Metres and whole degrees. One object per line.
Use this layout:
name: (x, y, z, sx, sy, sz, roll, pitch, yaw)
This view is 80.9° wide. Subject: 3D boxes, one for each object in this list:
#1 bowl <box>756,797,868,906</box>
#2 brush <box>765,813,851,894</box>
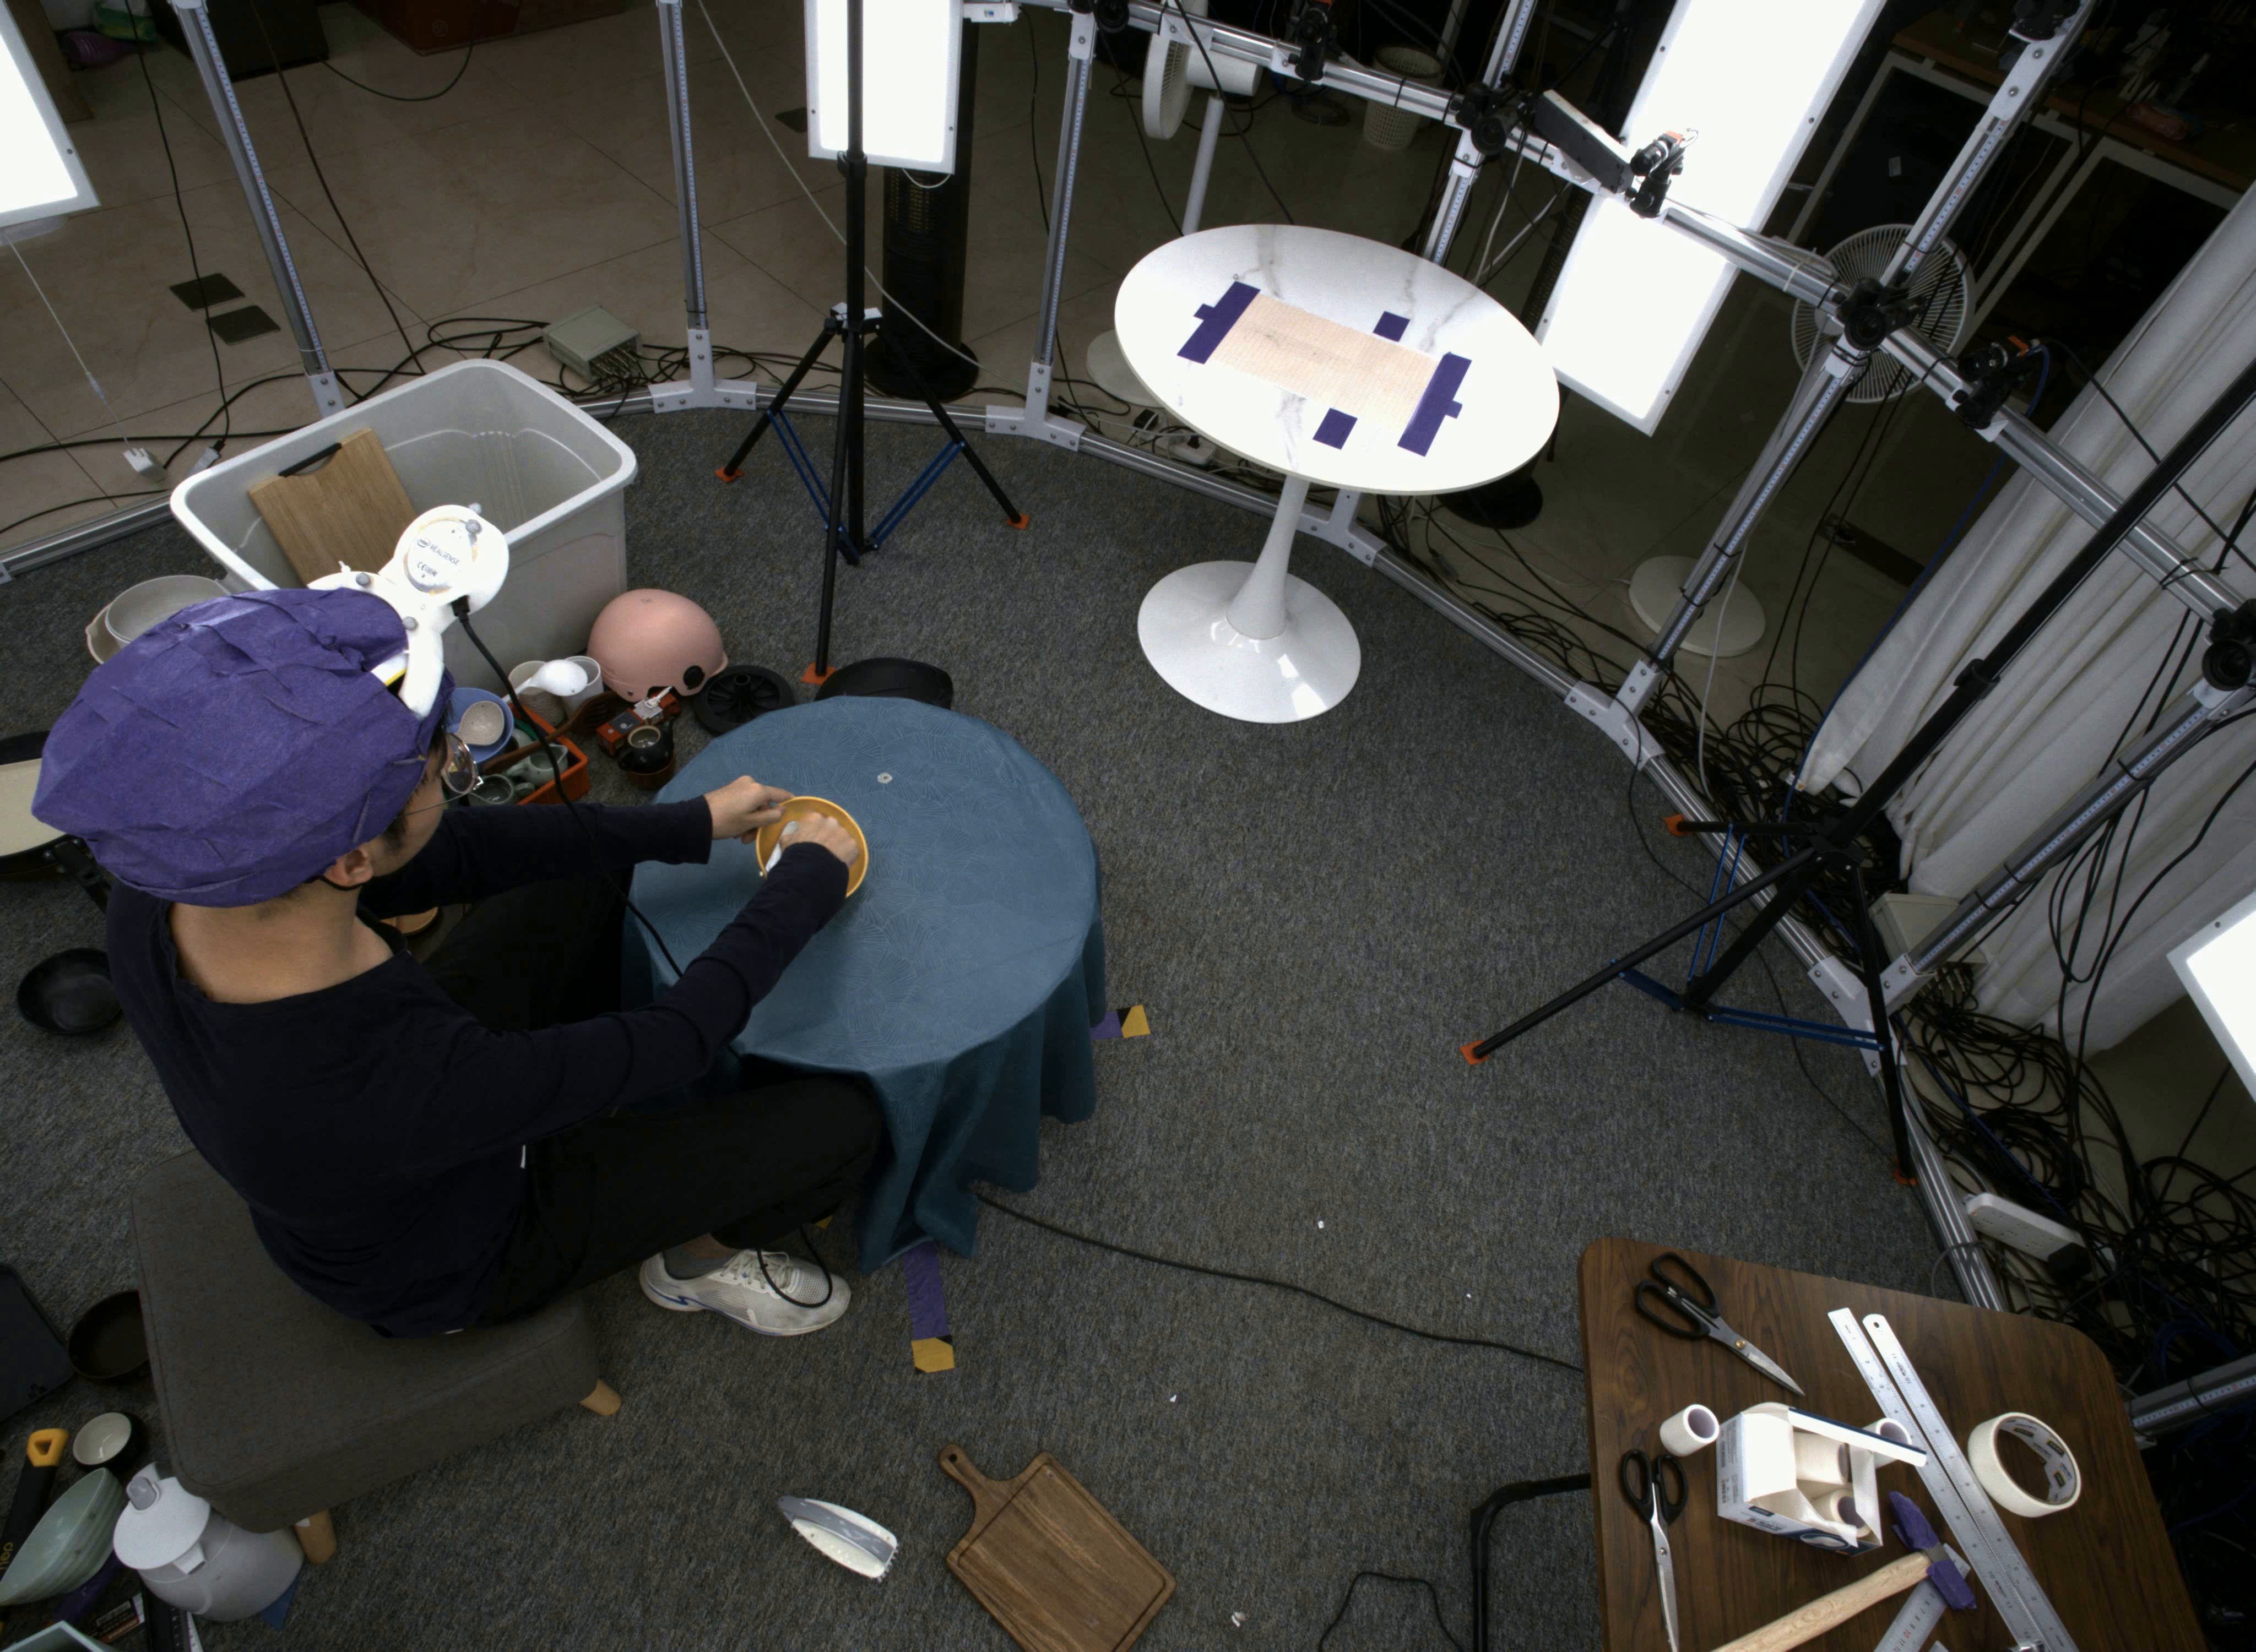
bowl: (-0.408, 0.041, 1.647, 0.148, 0.059, 0.143, 17, 60, -28)
brush: (-0.391, 0.026, 1.604, 0.084, 0.057, 0.141, 21, 23, -9)
